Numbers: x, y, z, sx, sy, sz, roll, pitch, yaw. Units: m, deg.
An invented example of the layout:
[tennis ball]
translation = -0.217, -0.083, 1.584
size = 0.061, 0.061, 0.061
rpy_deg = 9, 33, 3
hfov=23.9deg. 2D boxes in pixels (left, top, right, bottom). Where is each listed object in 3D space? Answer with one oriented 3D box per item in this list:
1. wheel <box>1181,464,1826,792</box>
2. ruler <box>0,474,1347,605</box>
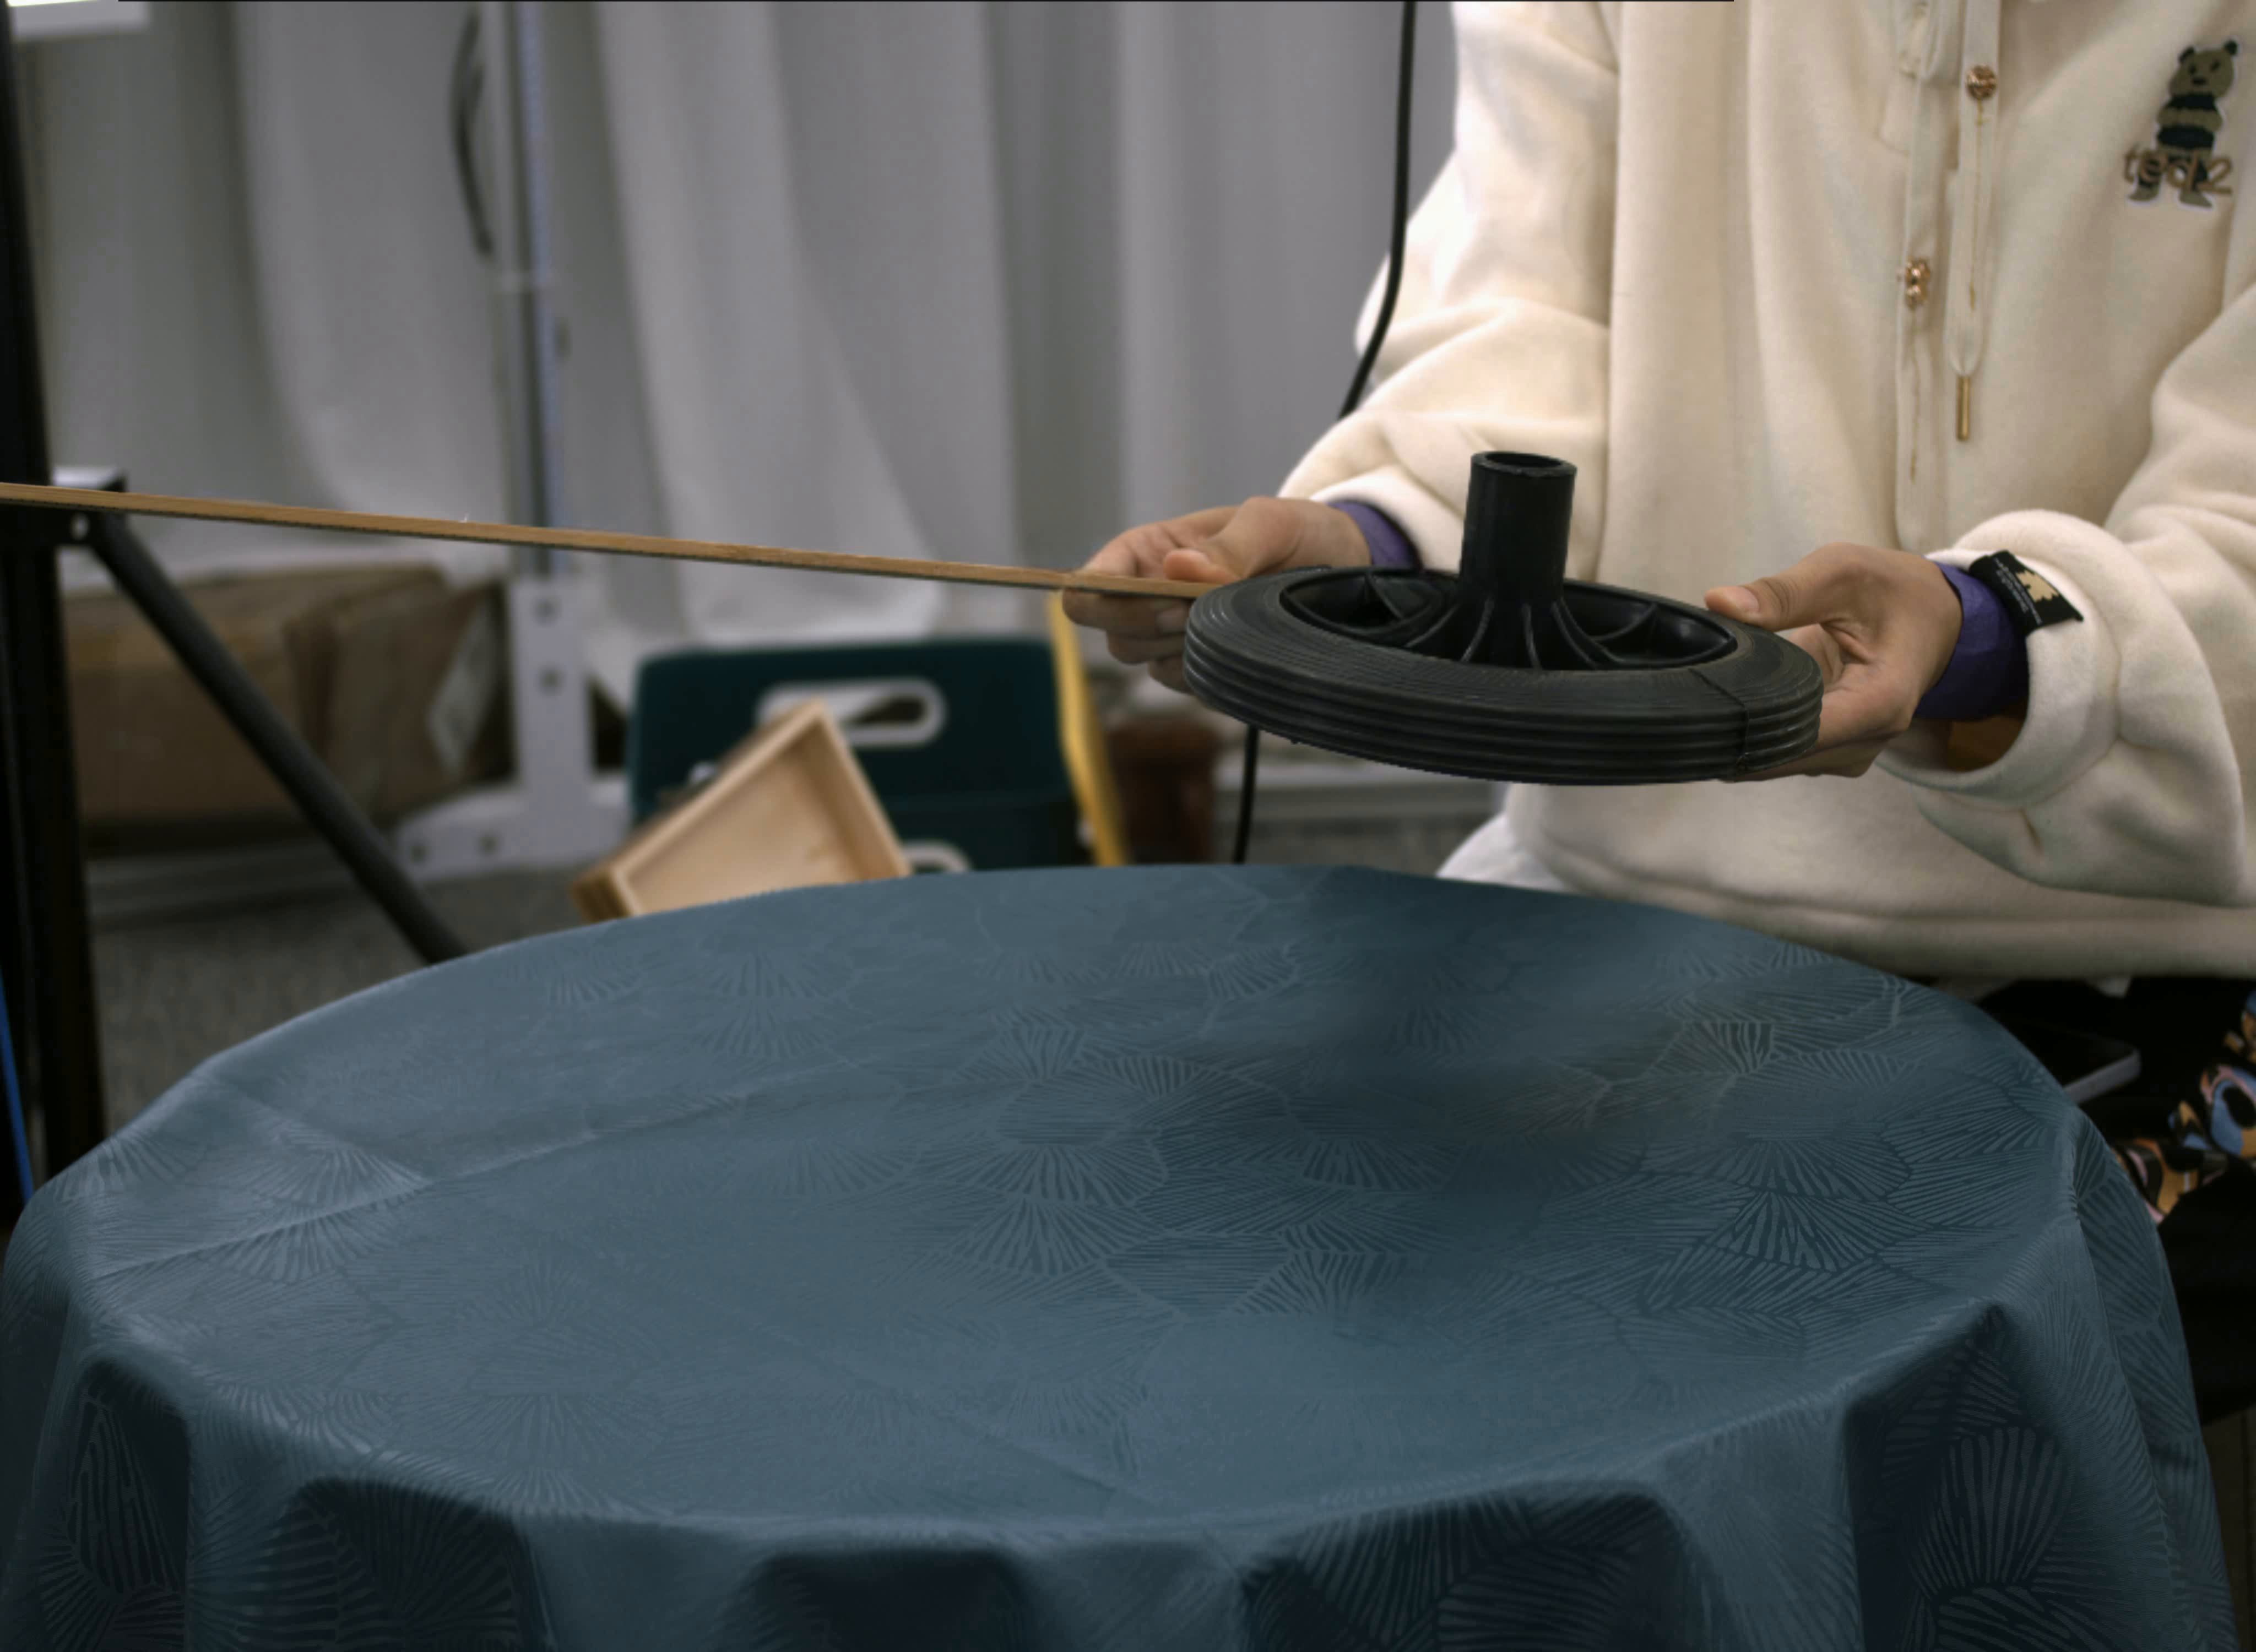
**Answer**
[wheel]
translation = 0.112, -0.063, 1.552
size = 0.188, 0.079, 0.189
rpy_deg = 4, 14, -7
[ruler]
translation = -0.125, -0.084, 1.616
size = 0.493, 0.006, 0.027
rpy_deg = 4, -2, -11
